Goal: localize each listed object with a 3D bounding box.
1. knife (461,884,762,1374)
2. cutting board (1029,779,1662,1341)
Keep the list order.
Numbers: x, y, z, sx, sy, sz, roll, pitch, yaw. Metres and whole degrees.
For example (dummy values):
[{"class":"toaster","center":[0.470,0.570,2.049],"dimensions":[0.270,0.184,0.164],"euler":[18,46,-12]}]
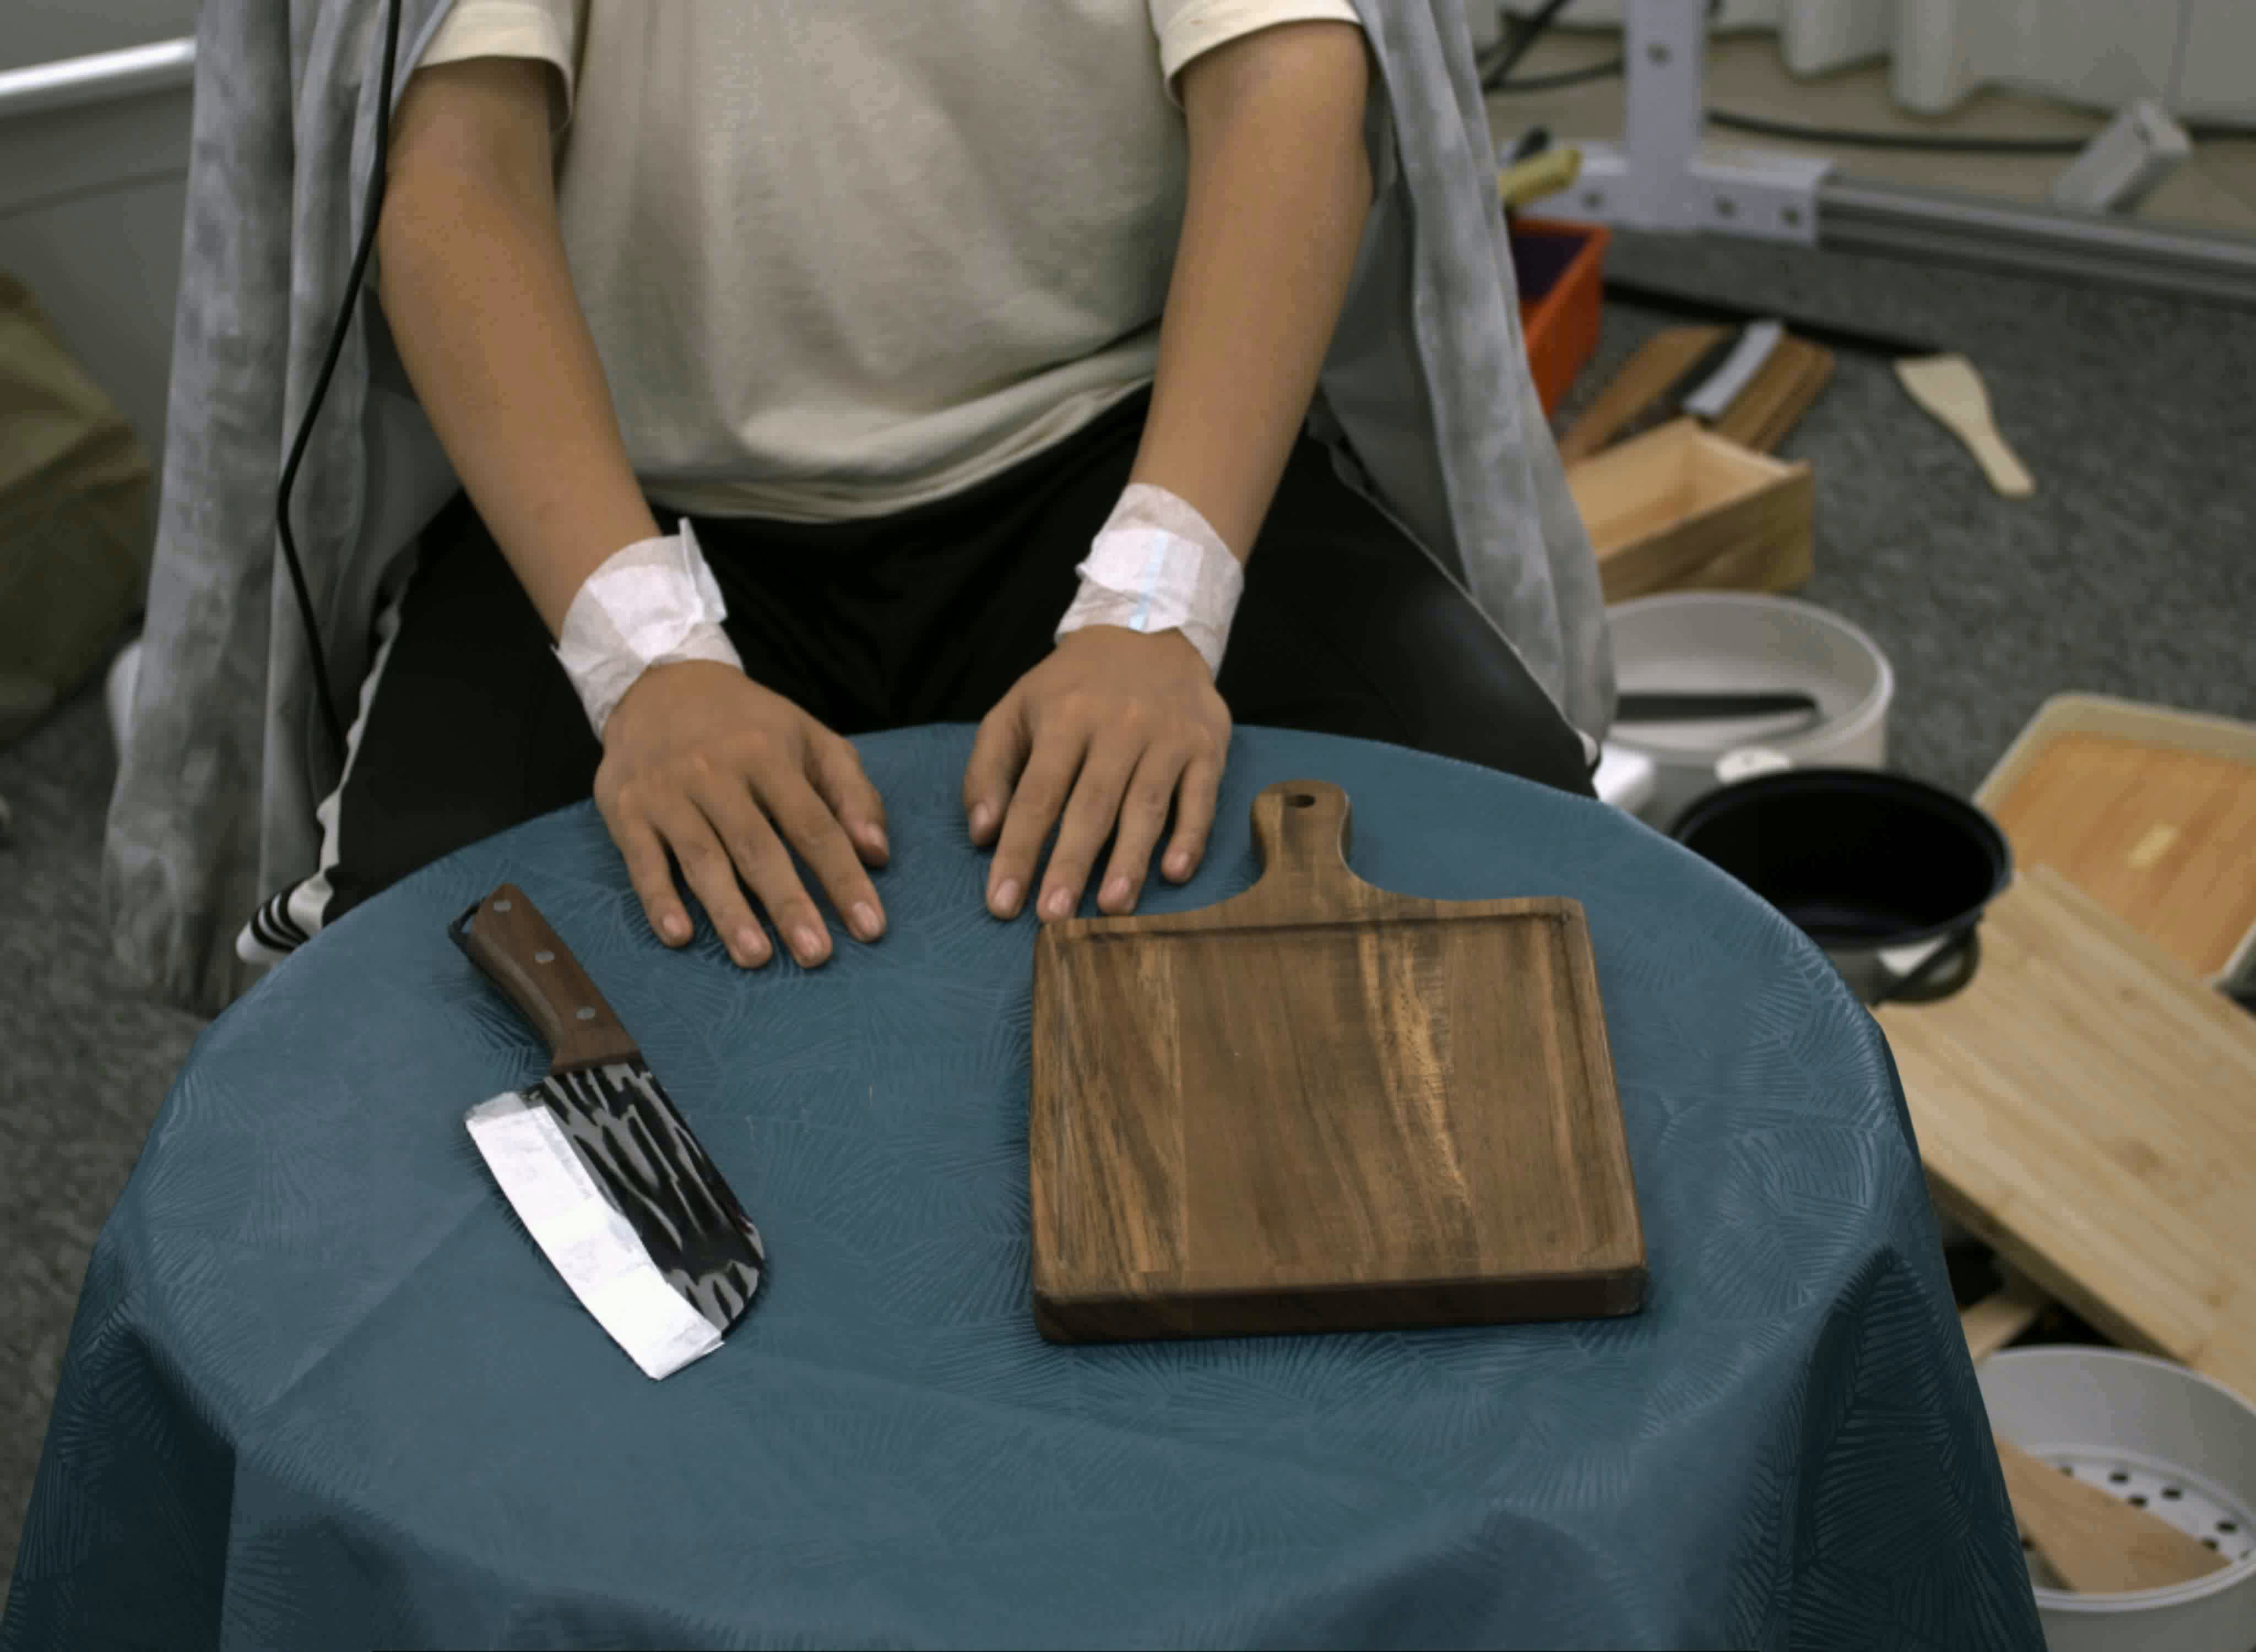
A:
[{"class":"knife","center":[-0.186,0.101,1.898],"dimensions":[0.068,0.023,0.302],"euler":[-14,32,-17]},{"class":"cutting board","center":[0.066,0.071,1.928],"dimensions":[0.200,0.023,0.357],"euler":[-3,27,0]}]
